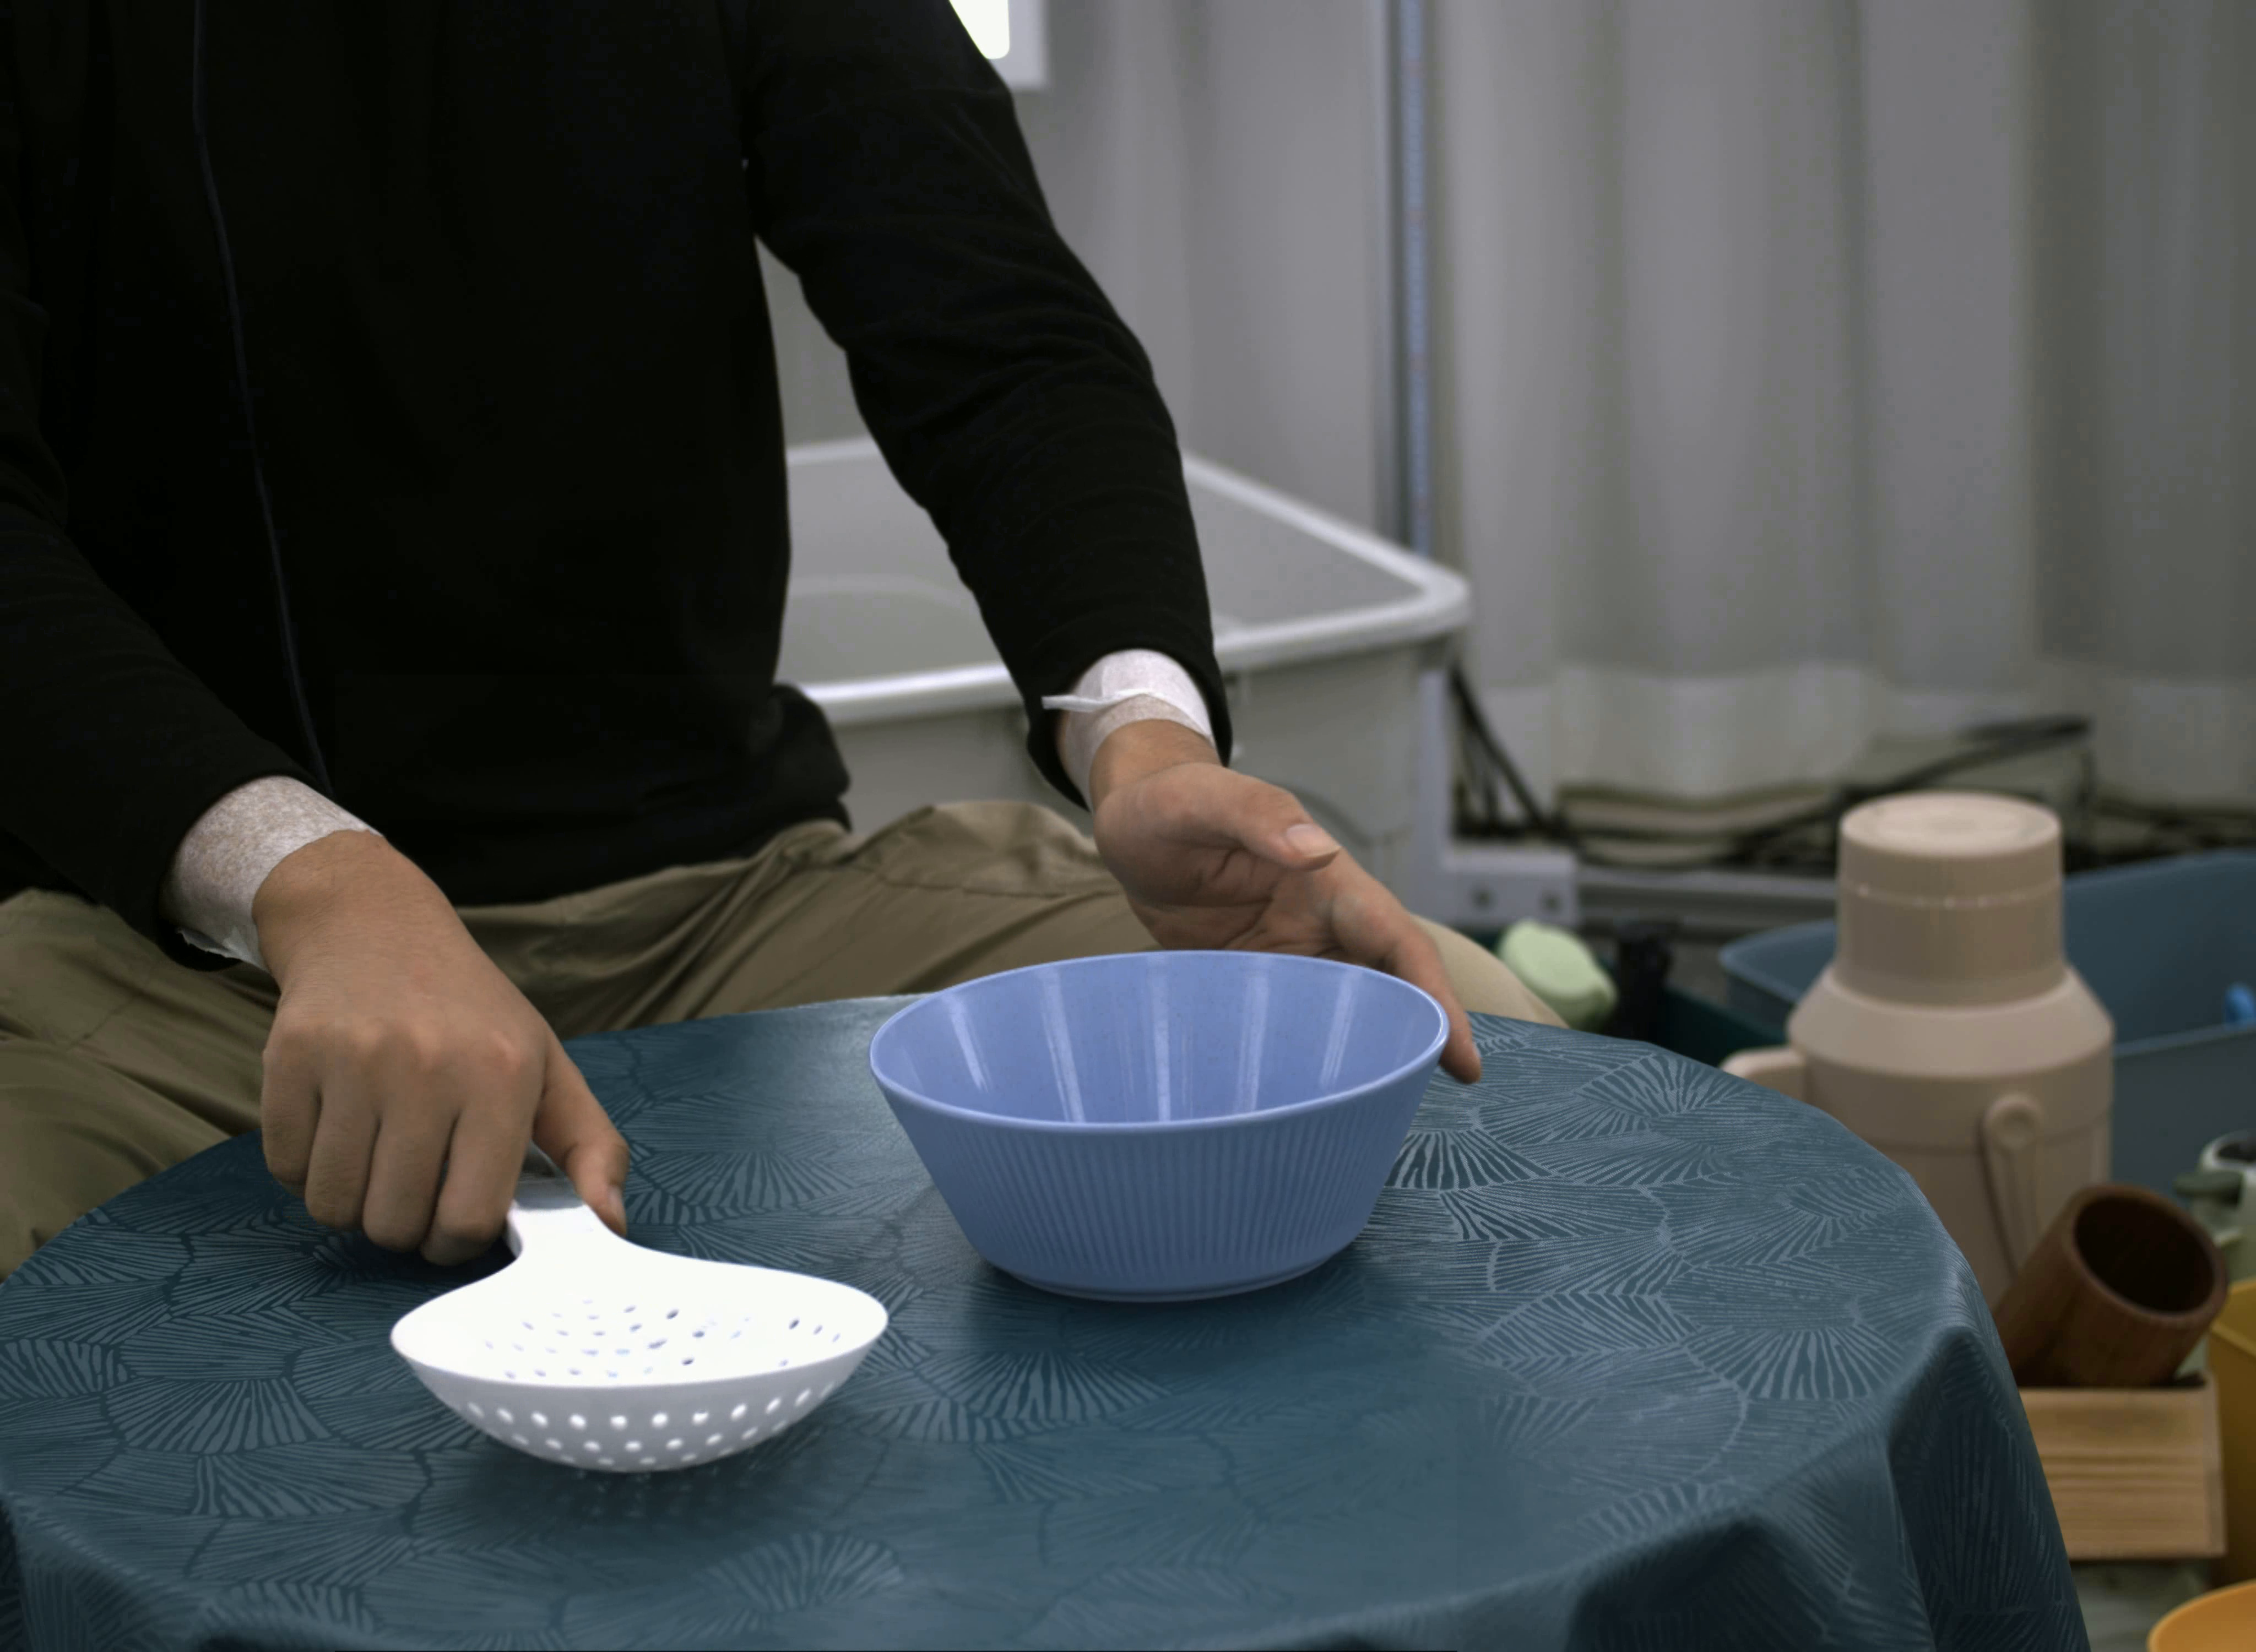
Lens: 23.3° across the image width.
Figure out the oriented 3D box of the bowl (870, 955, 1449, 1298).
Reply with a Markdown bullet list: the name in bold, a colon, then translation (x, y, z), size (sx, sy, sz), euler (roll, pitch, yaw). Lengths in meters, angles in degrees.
- **bowl**: translation (0.010, 0.093, 1.657), size (0.175, 0.070, 0.177), euler (-3, 14, 0)

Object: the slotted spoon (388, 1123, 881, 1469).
- **slotted spoon**: translation (-0.164, 0.128, 1.606), size (0.135, 0.045, 0.352), euler (-5, 14, -15)
